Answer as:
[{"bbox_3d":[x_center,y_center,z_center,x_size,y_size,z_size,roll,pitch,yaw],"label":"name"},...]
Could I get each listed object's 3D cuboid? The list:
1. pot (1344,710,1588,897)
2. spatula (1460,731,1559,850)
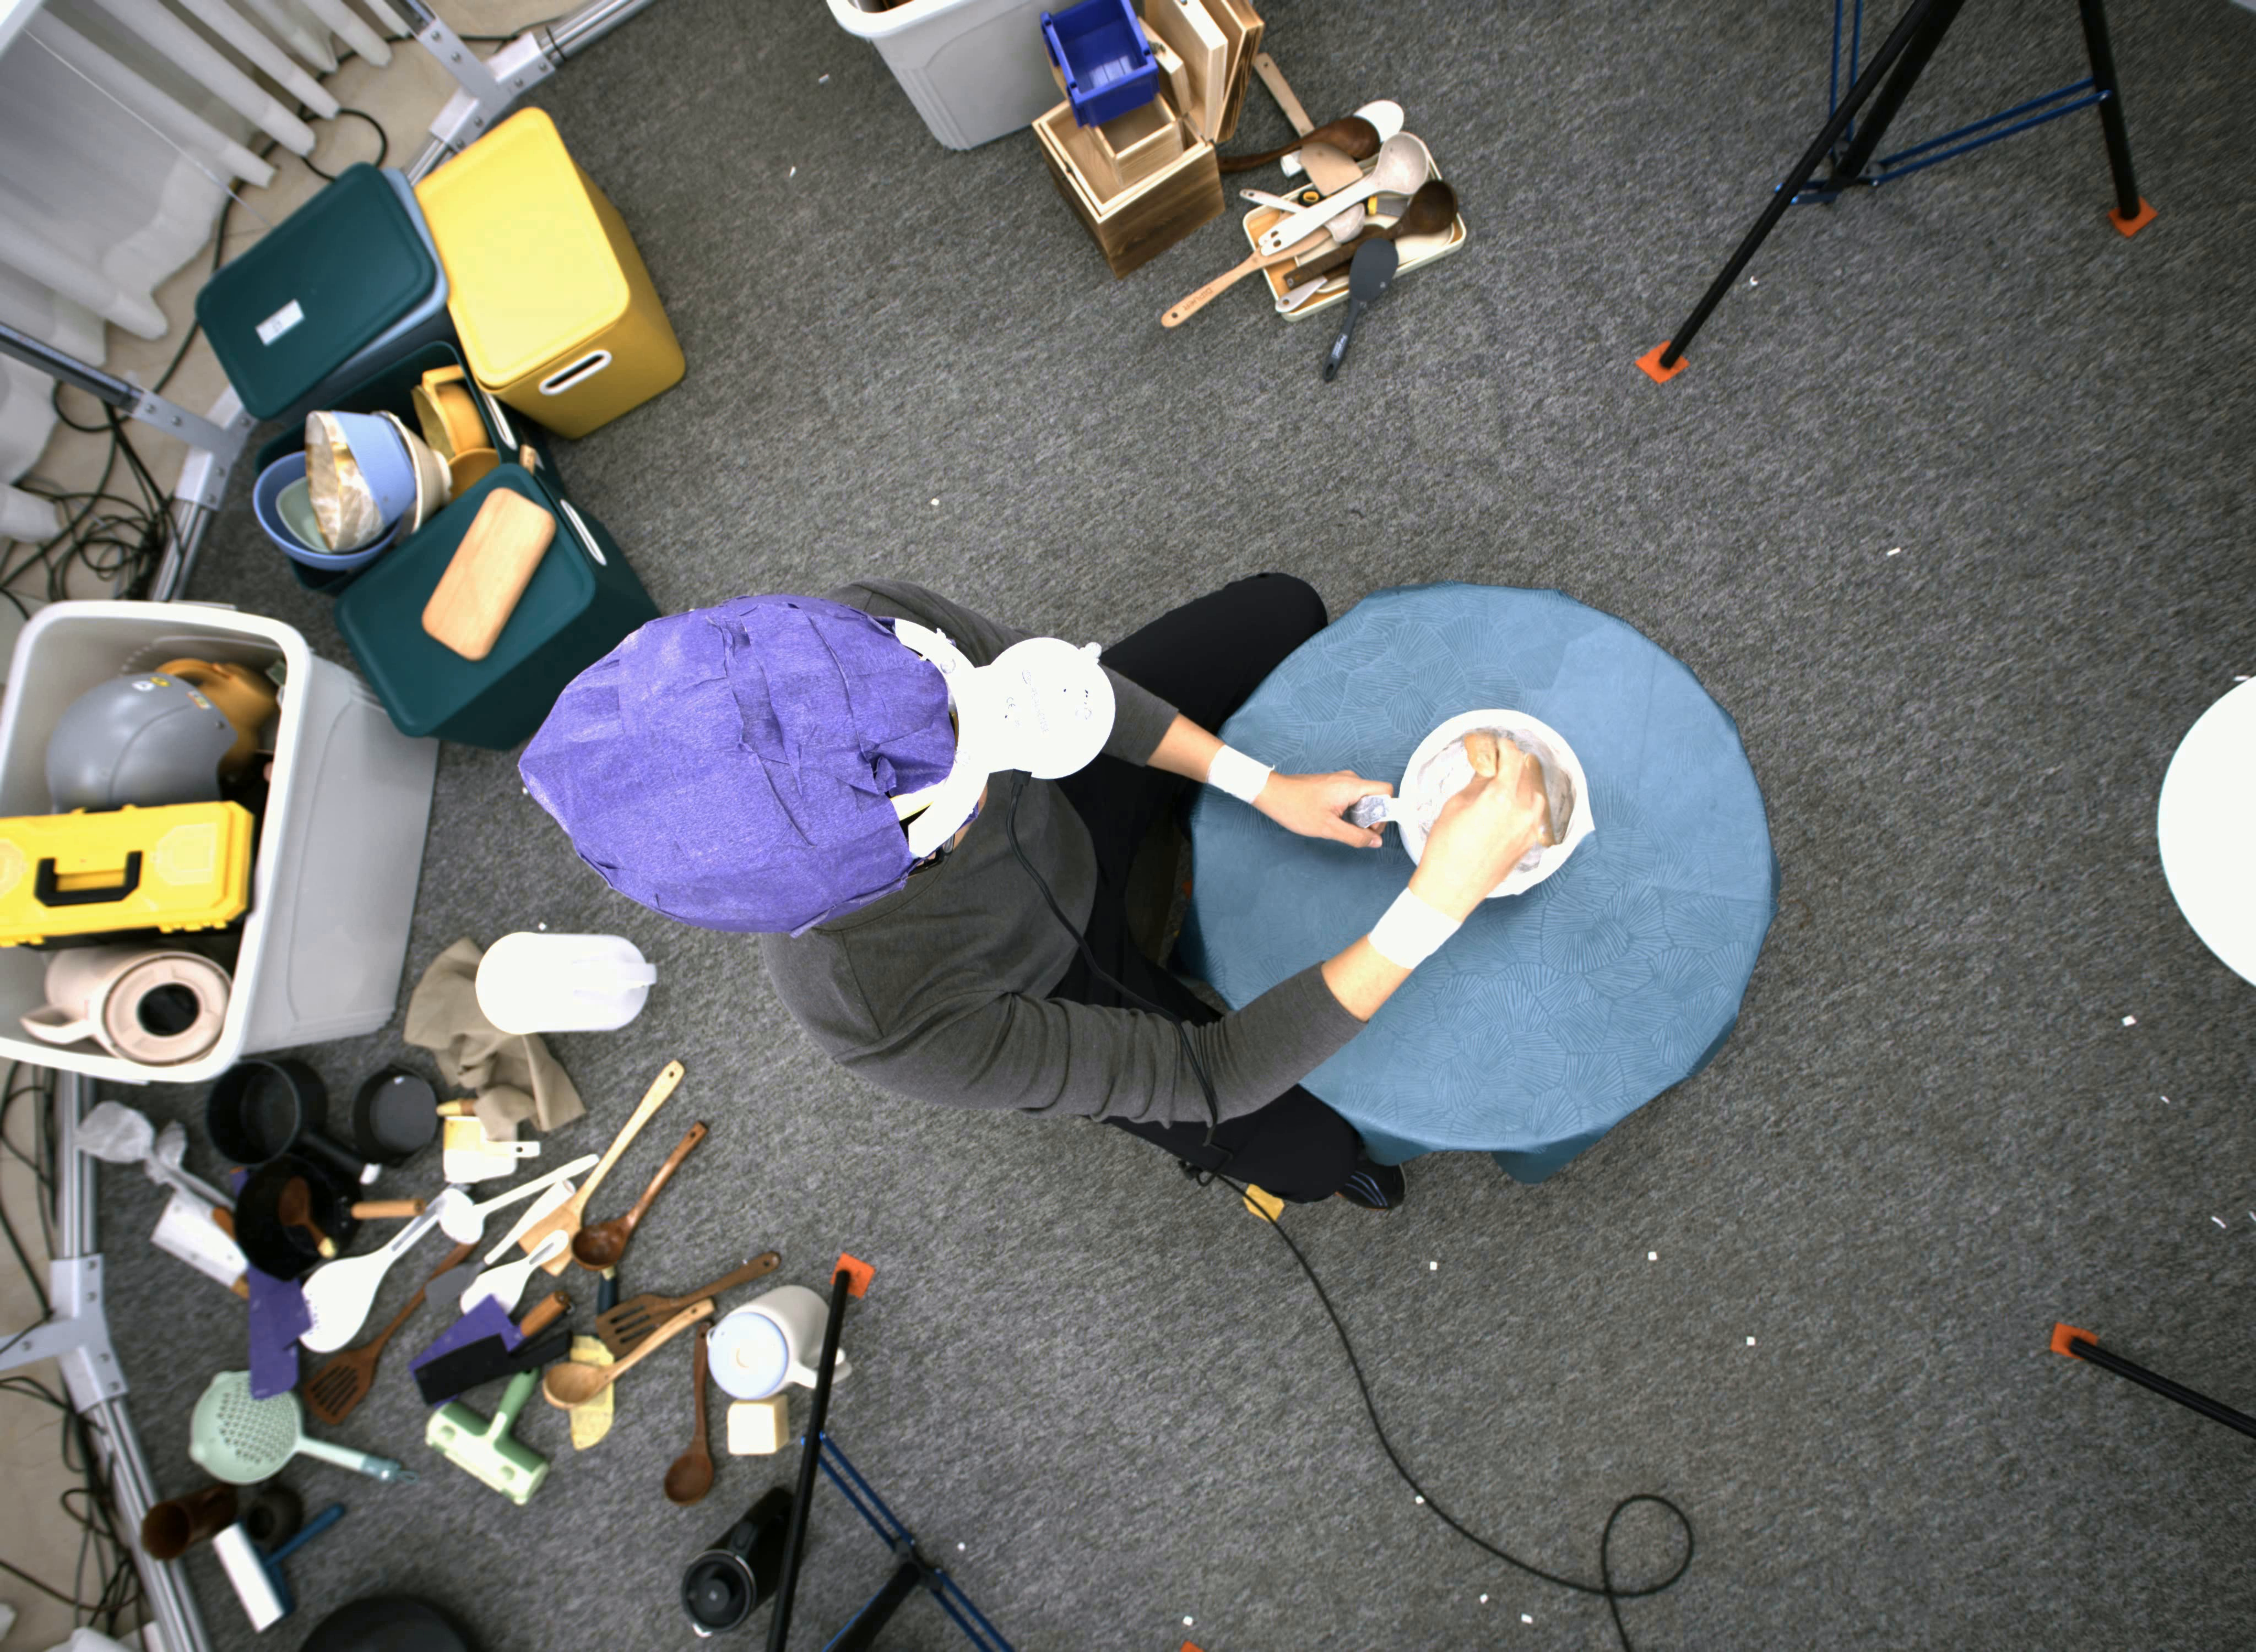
[{"bbox_3d":[0.334,-0.018,1.385,0.235,0.136,0.178,-4,85,11],"label":"pot"},{"bbox_3d":[0.337,-0.039,1.197,0.018,0.390,0.095,-14,79,22],"label":"spatula"}]
